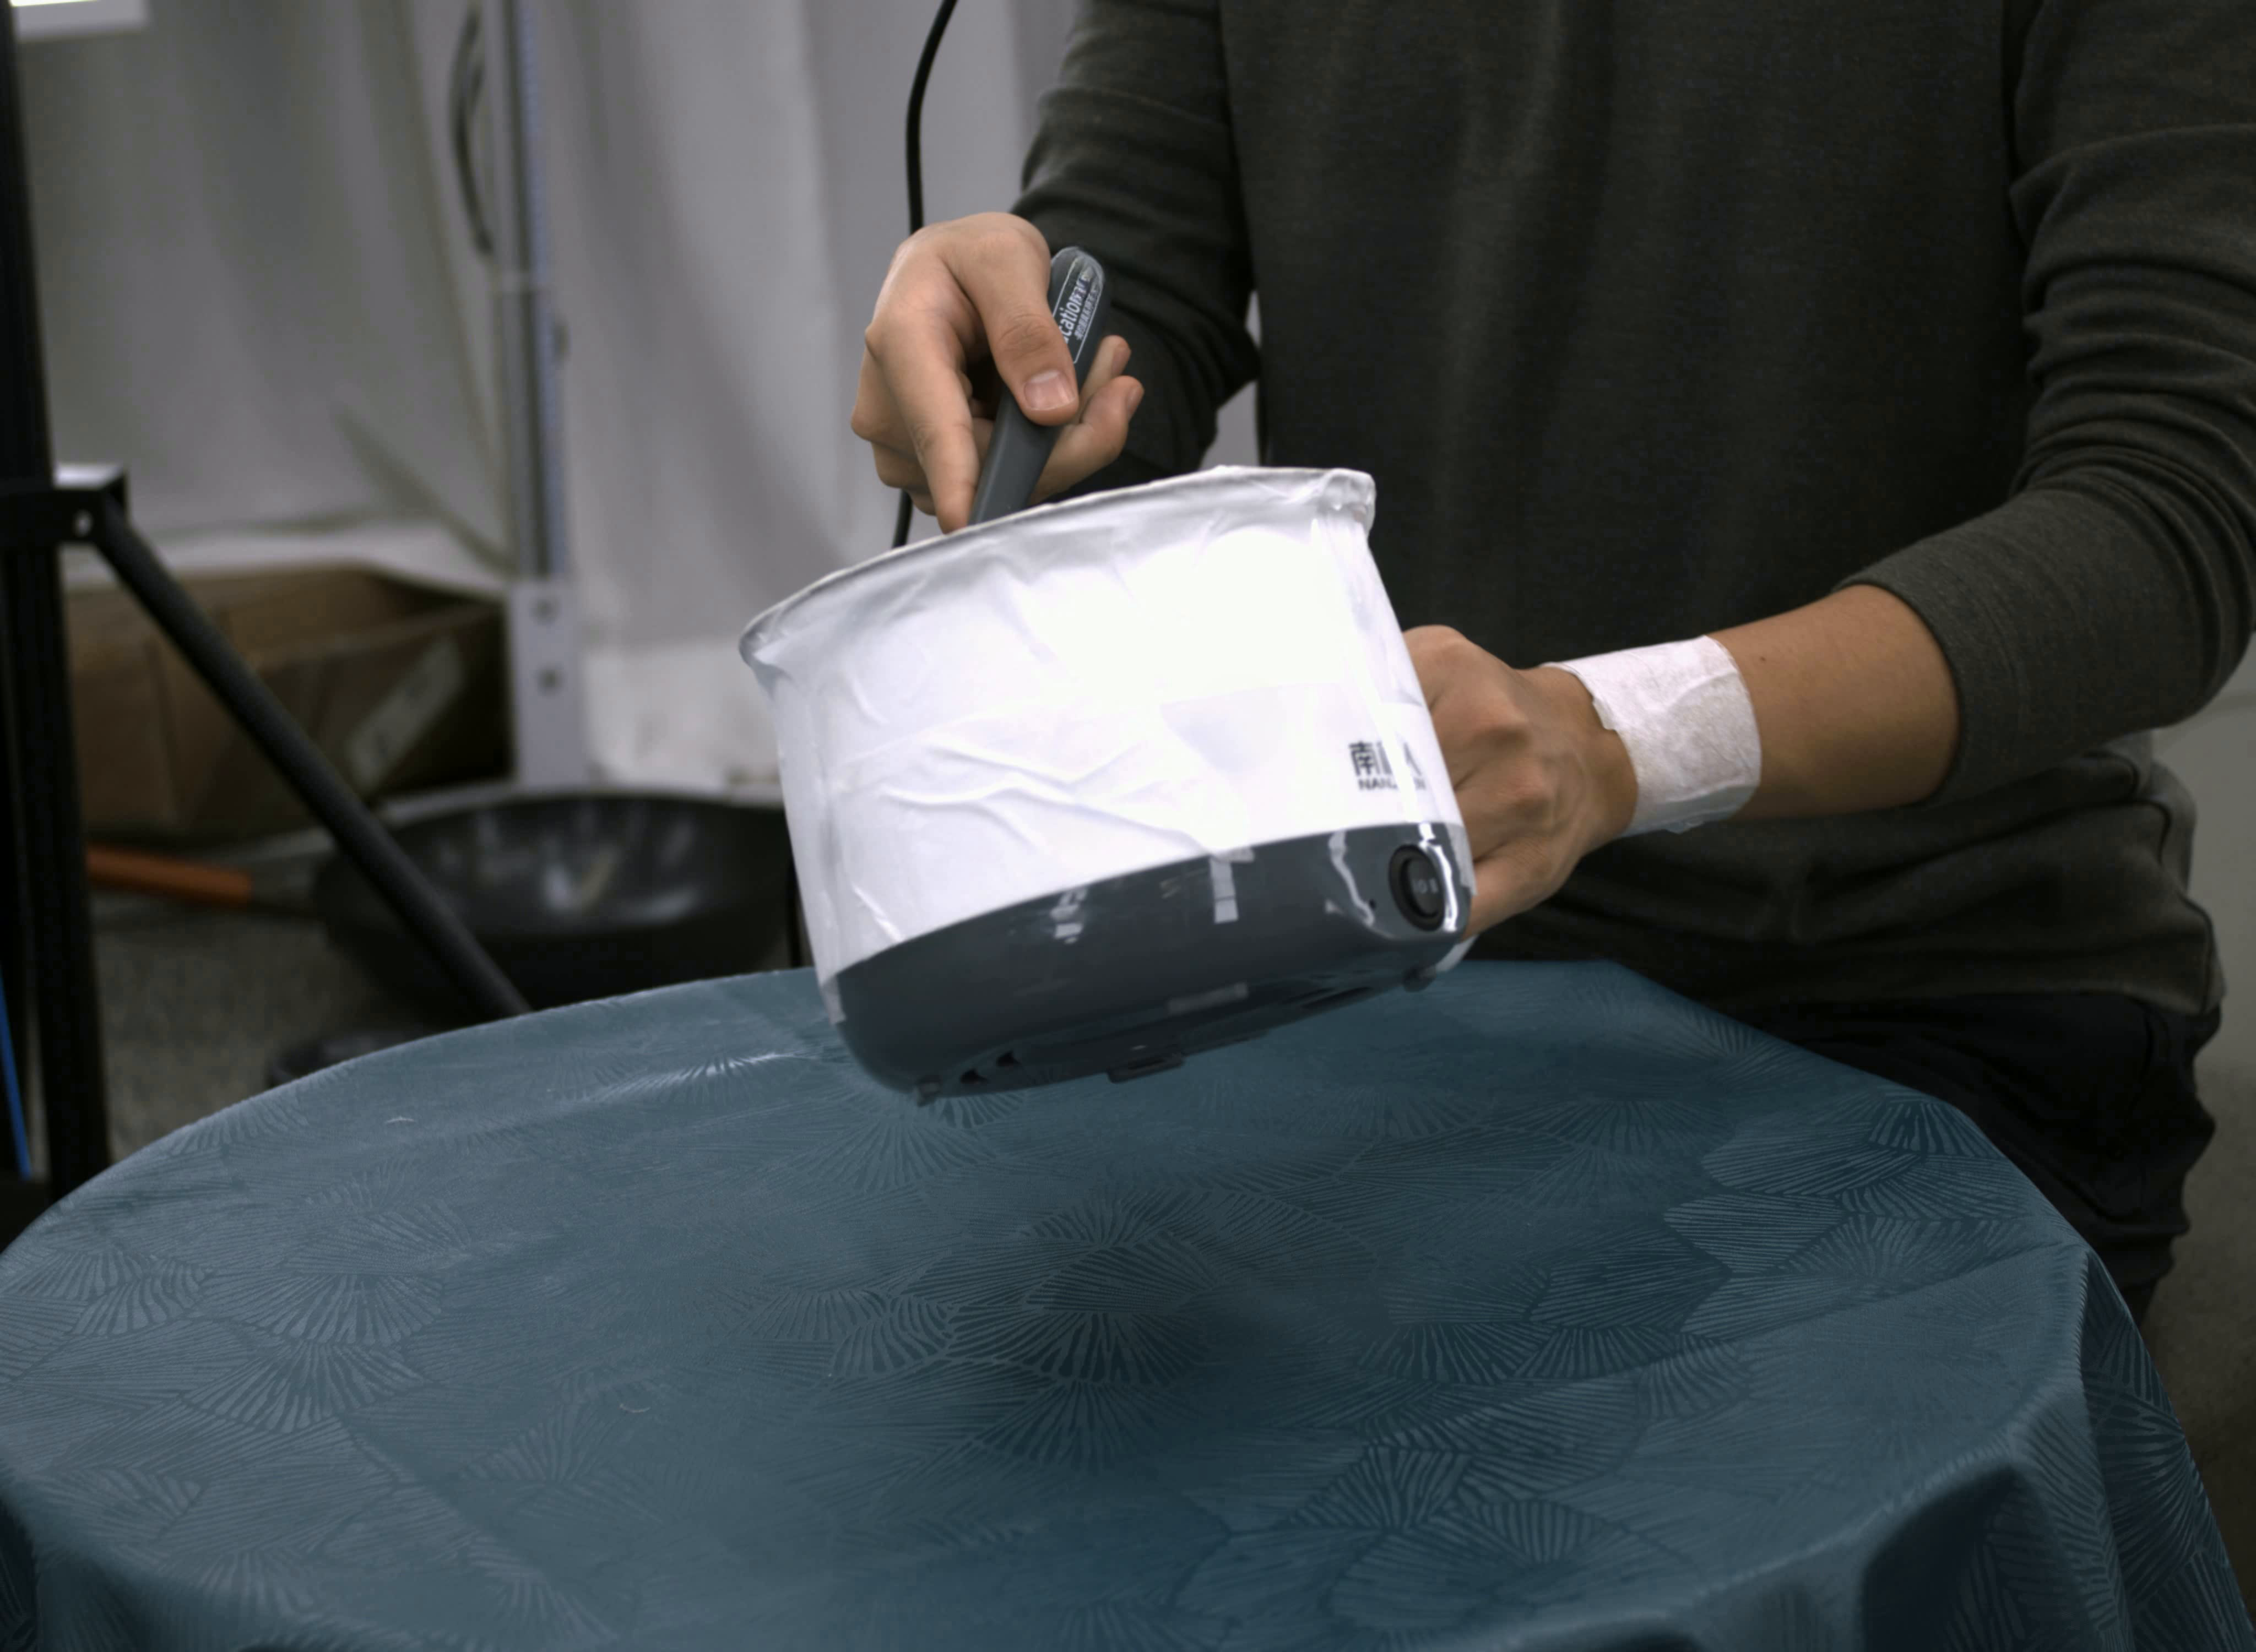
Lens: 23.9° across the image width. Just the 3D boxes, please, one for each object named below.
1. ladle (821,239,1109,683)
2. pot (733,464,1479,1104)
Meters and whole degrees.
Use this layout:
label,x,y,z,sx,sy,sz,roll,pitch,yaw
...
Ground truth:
label,x,y,z,sx,sy,sz,roll,pitch,yaw
ladle,-0.028,-0.100,1.504,0.085,0.064,0.314,34,36,-12
pot,0.011,-0.009,1.431,0.181,0.138,0.228,-18,-9,35
